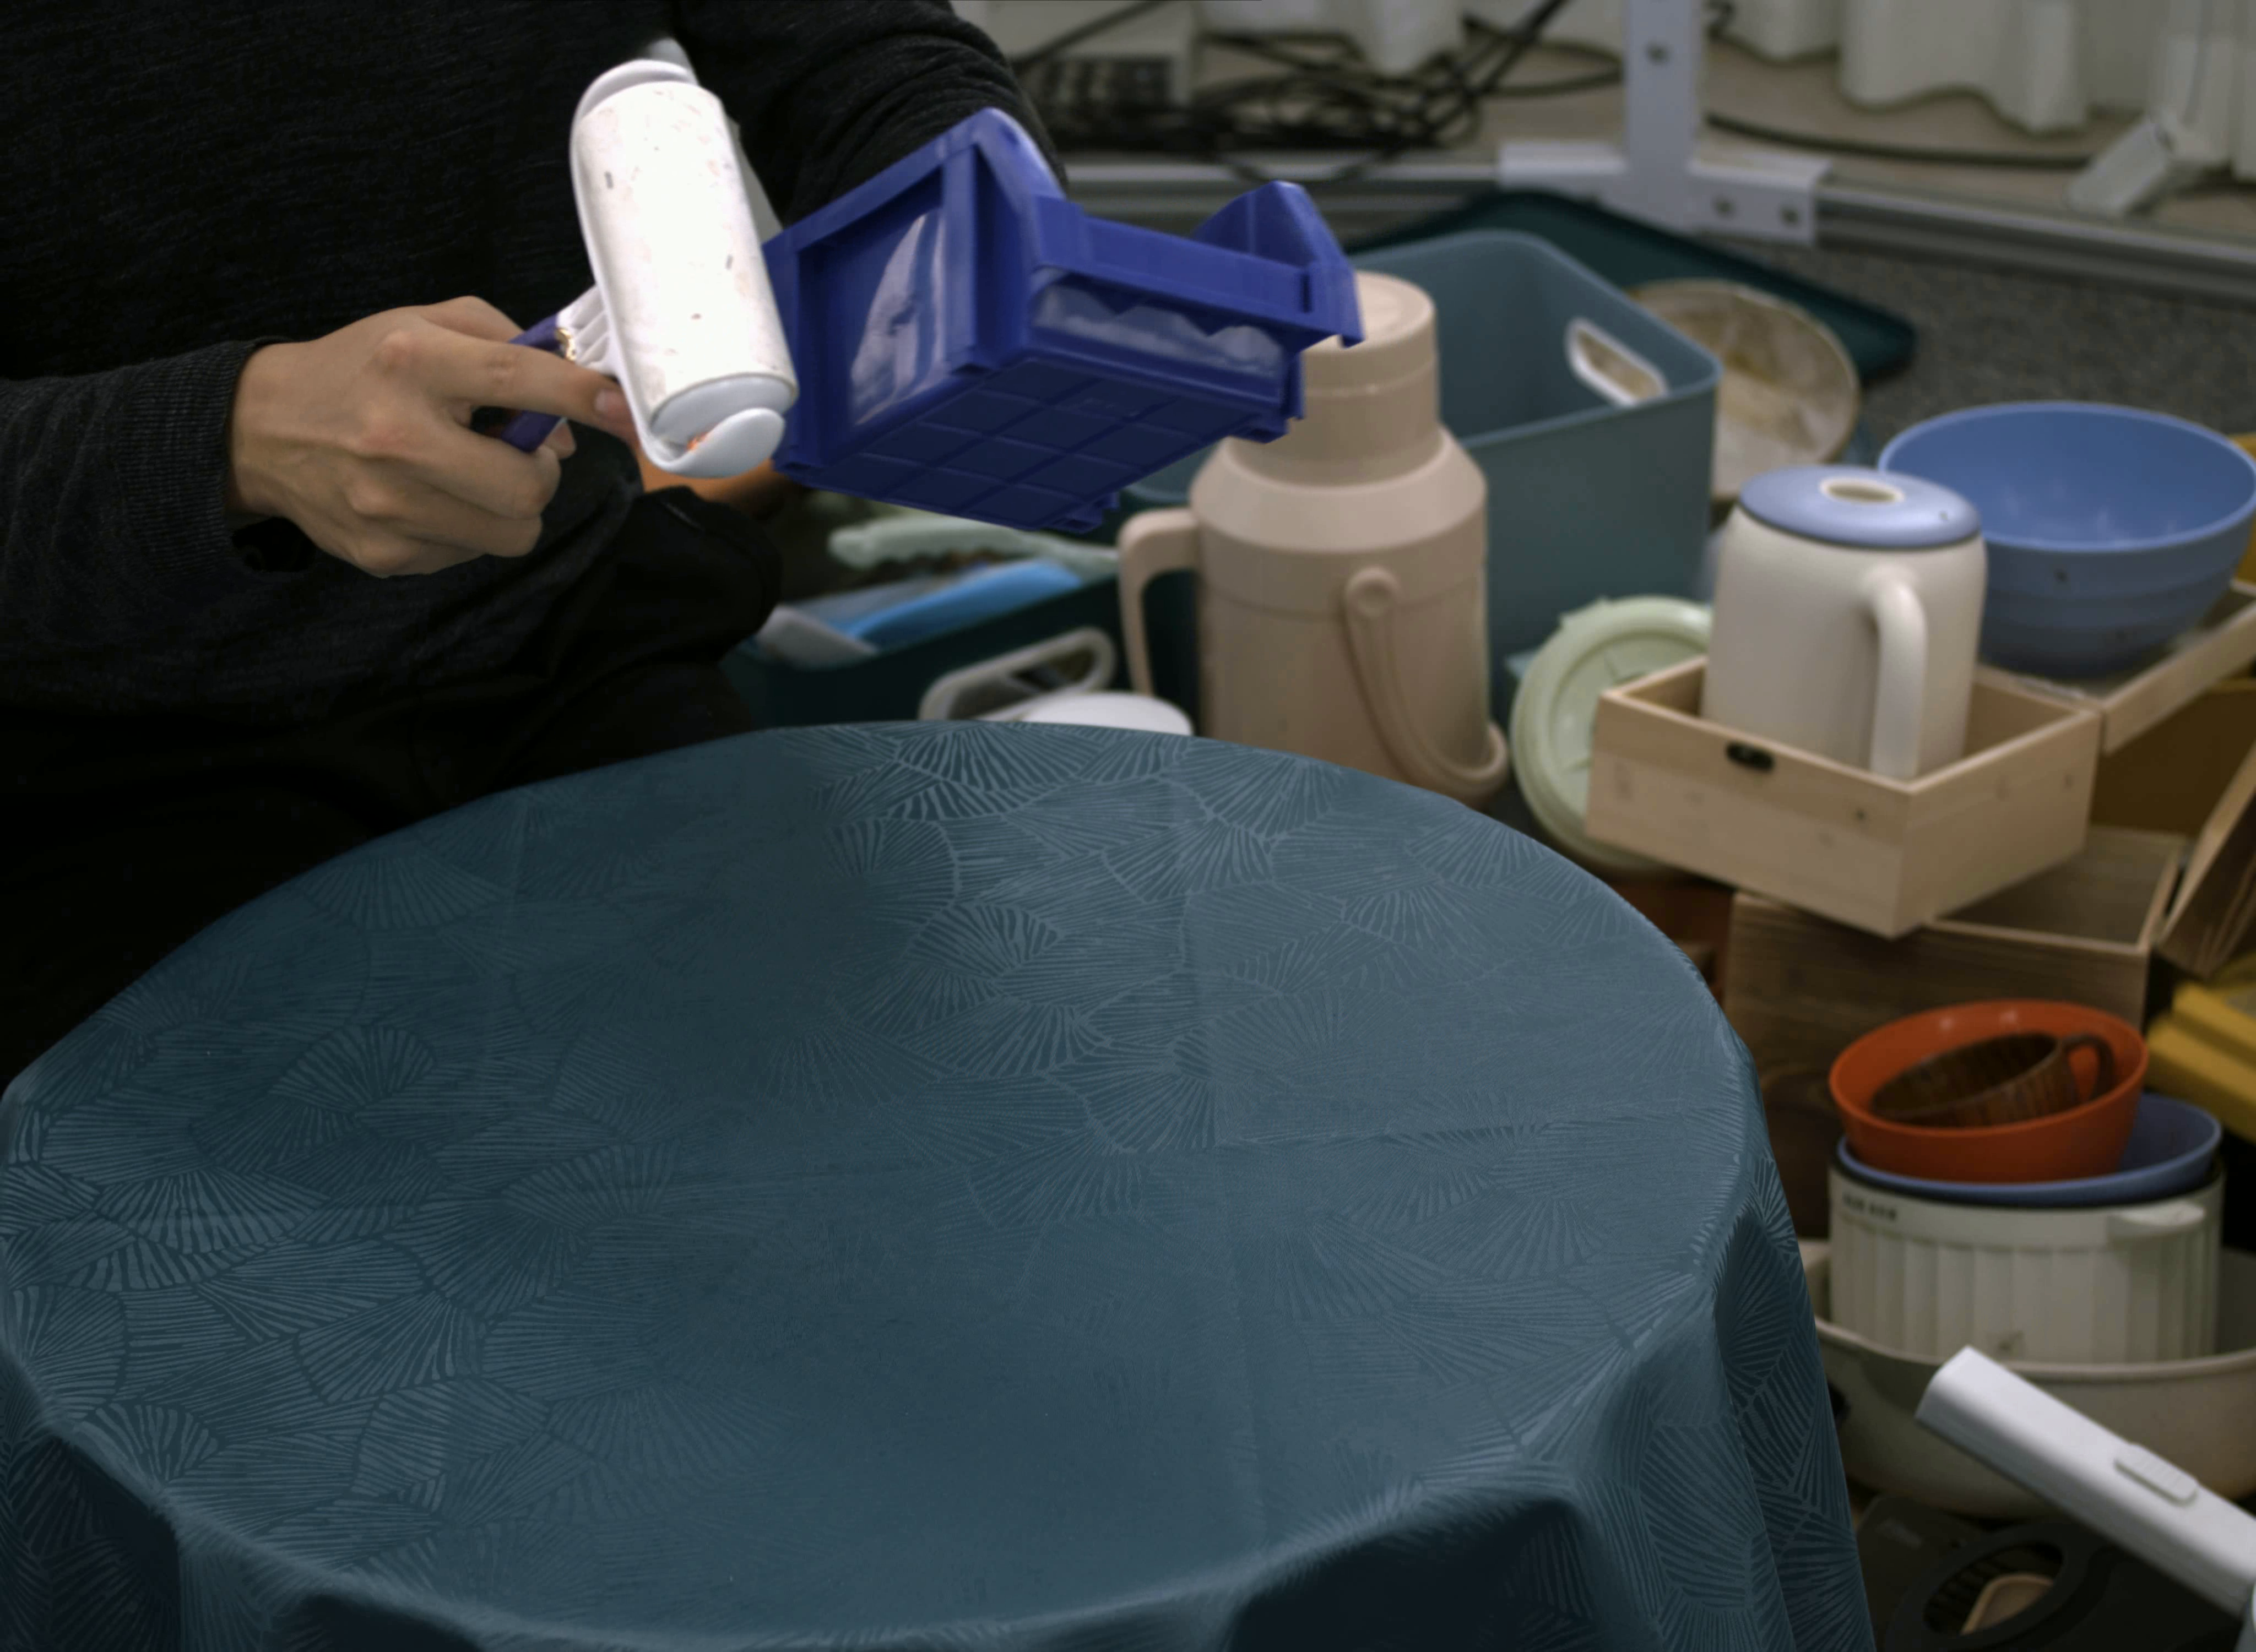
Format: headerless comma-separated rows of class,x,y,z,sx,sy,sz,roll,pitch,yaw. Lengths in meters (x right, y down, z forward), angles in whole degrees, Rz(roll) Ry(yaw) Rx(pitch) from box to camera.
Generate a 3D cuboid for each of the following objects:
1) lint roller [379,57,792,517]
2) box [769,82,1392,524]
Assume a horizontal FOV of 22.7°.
lint roller,-0.185,-0.147,1.751,0.178,0.134,0.050,-28,-22,32
box,-0.015,-0.164,1.783,0.124,0.083,0.176,10,-23,-32
